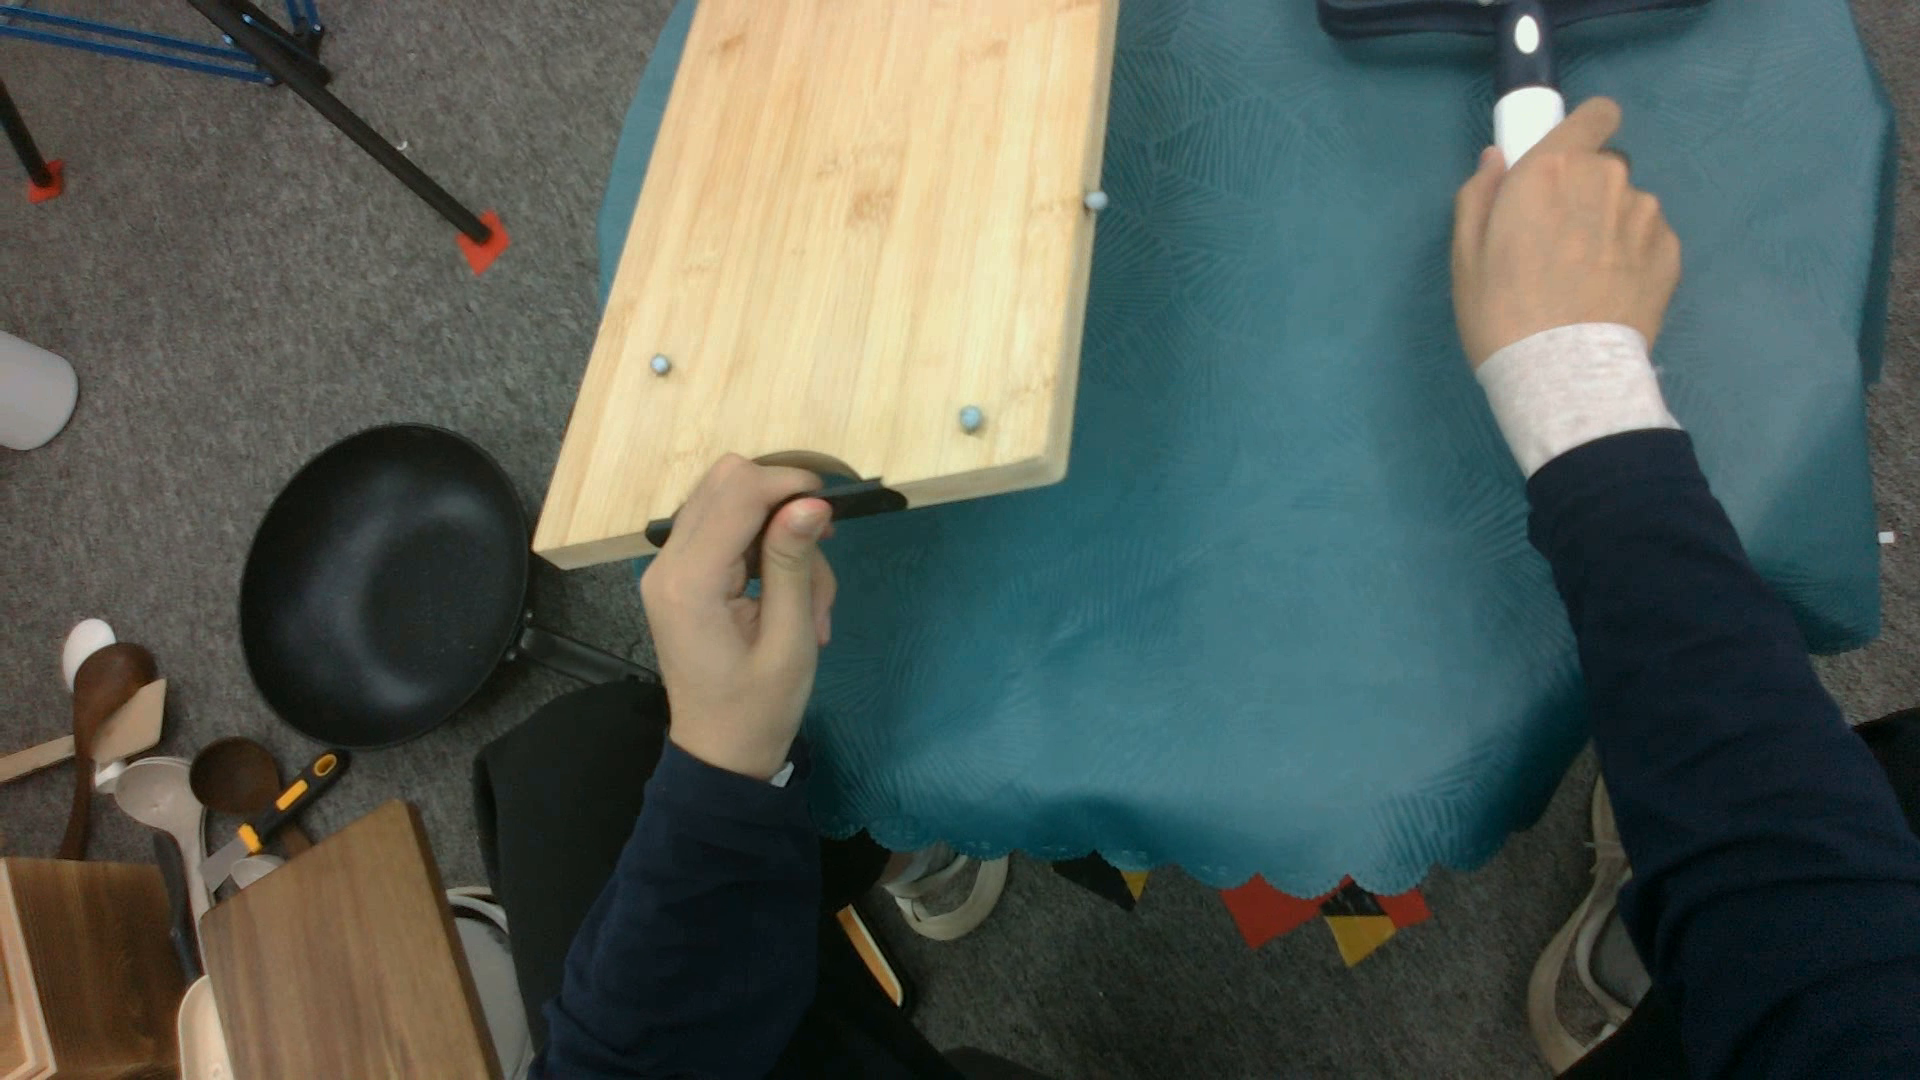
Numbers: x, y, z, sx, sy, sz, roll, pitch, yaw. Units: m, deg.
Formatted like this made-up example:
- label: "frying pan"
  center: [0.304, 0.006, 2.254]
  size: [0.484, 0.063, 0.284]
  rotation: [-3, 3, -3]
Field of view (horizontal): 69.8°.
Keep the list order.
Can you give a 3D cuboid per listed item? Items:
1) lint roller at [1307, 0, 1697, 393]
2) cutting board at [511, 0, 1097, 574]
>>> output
- label: "lint roller"
  center: [0.238, -0.182, 0.587]
  size: [0.176, 0.050, 0.248]
  rotation: [0, 71, 13]
- label: "cutting board"
  center: [-0.058, -0.155, 0.606]
  size: [0.250, 0.023, 0.350]
  rotation: [-10, 57, 28]
